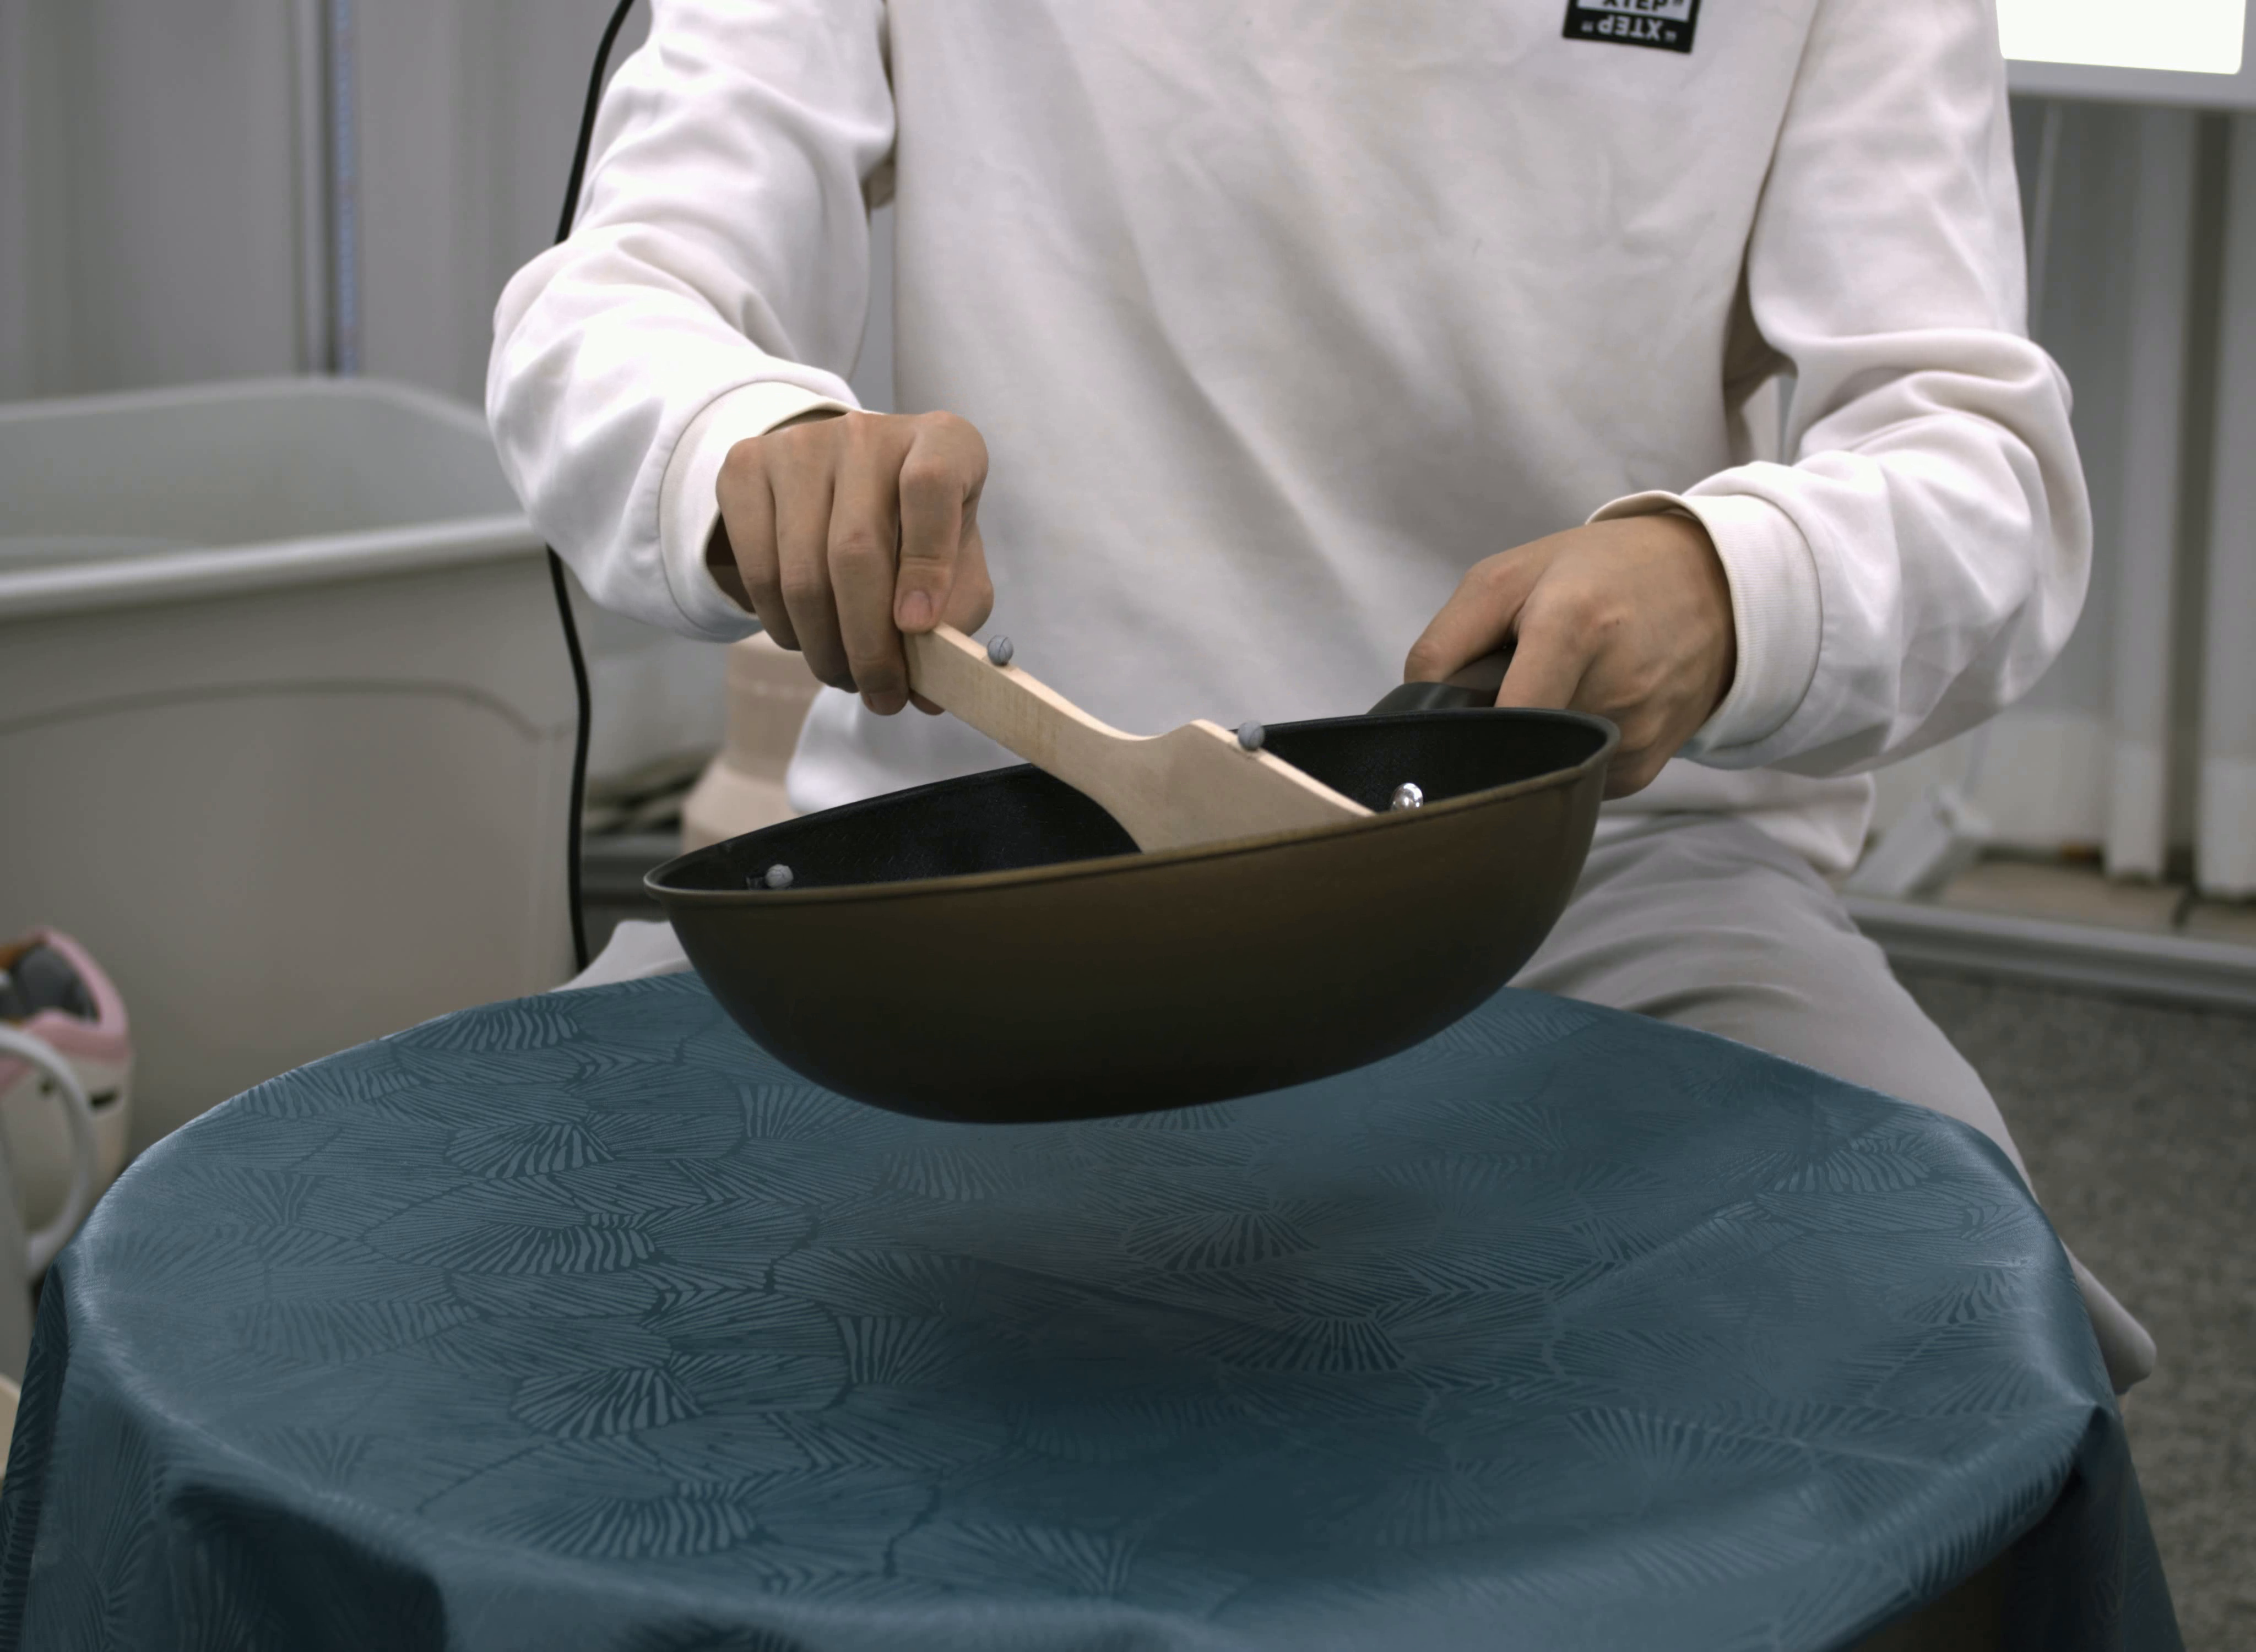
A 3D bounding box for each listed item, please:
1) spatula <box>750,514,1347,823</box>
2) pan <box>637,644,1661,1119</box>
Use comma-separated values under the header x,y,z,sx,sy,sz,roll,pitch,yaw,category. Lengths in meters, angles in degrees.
x,y,z,sx,sy,sz,roll,pitch,yaw,category
-0.024,-0.031,1.596,0.011,0.073,0.289,-26,42,-34,spatula
0.051,0.013,1.581,0.285,0.087,0.465,-5,7,31,pan
